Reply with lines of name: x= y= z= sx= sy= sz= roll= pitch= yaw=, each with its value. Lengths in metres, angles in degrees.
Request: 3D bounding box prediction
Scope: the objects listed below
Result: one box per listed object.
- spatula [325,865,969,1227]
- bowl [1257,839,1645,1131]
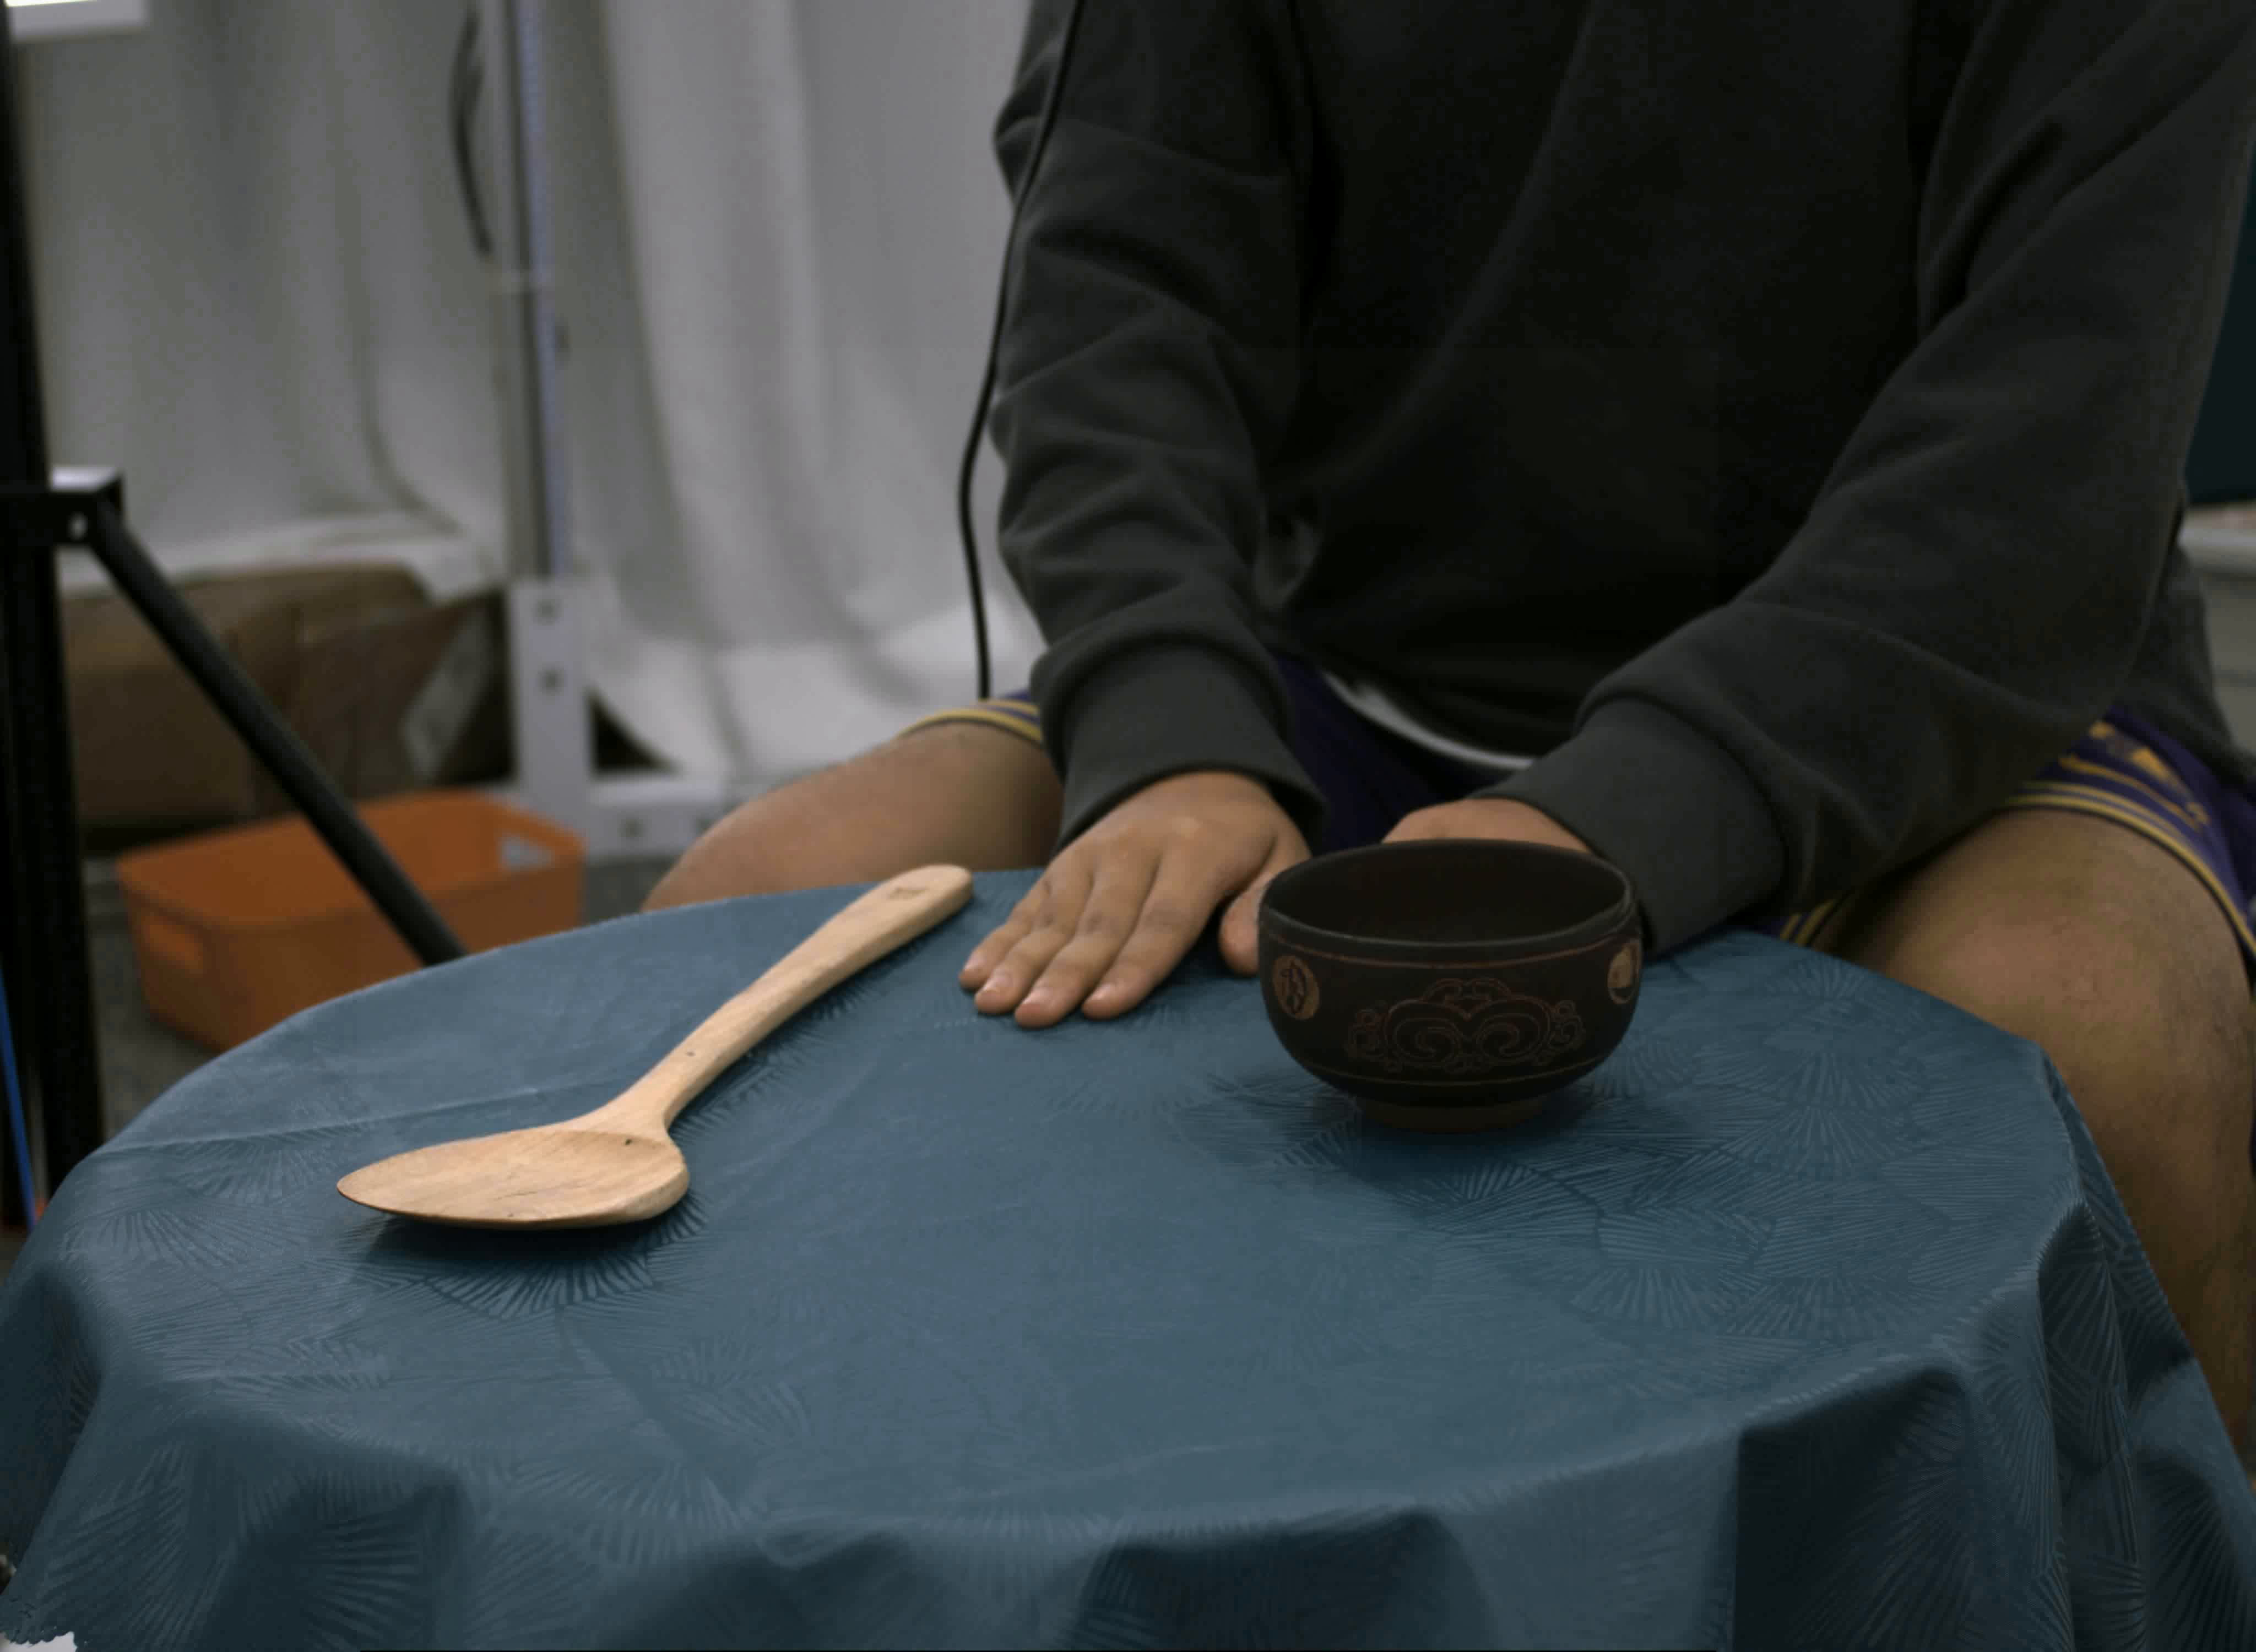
spatula: x=-0.132 y=0.065 z=1.702 sx=0.097 sy=0.018 sz=0.386 roll=5 pitch=18 yaw=19
bowl: x=0.098 y=0.052 z=1.613 sx=0.117 sy=0.070 sz=0.118 roll=-2 pitch=14 yaw=-1
